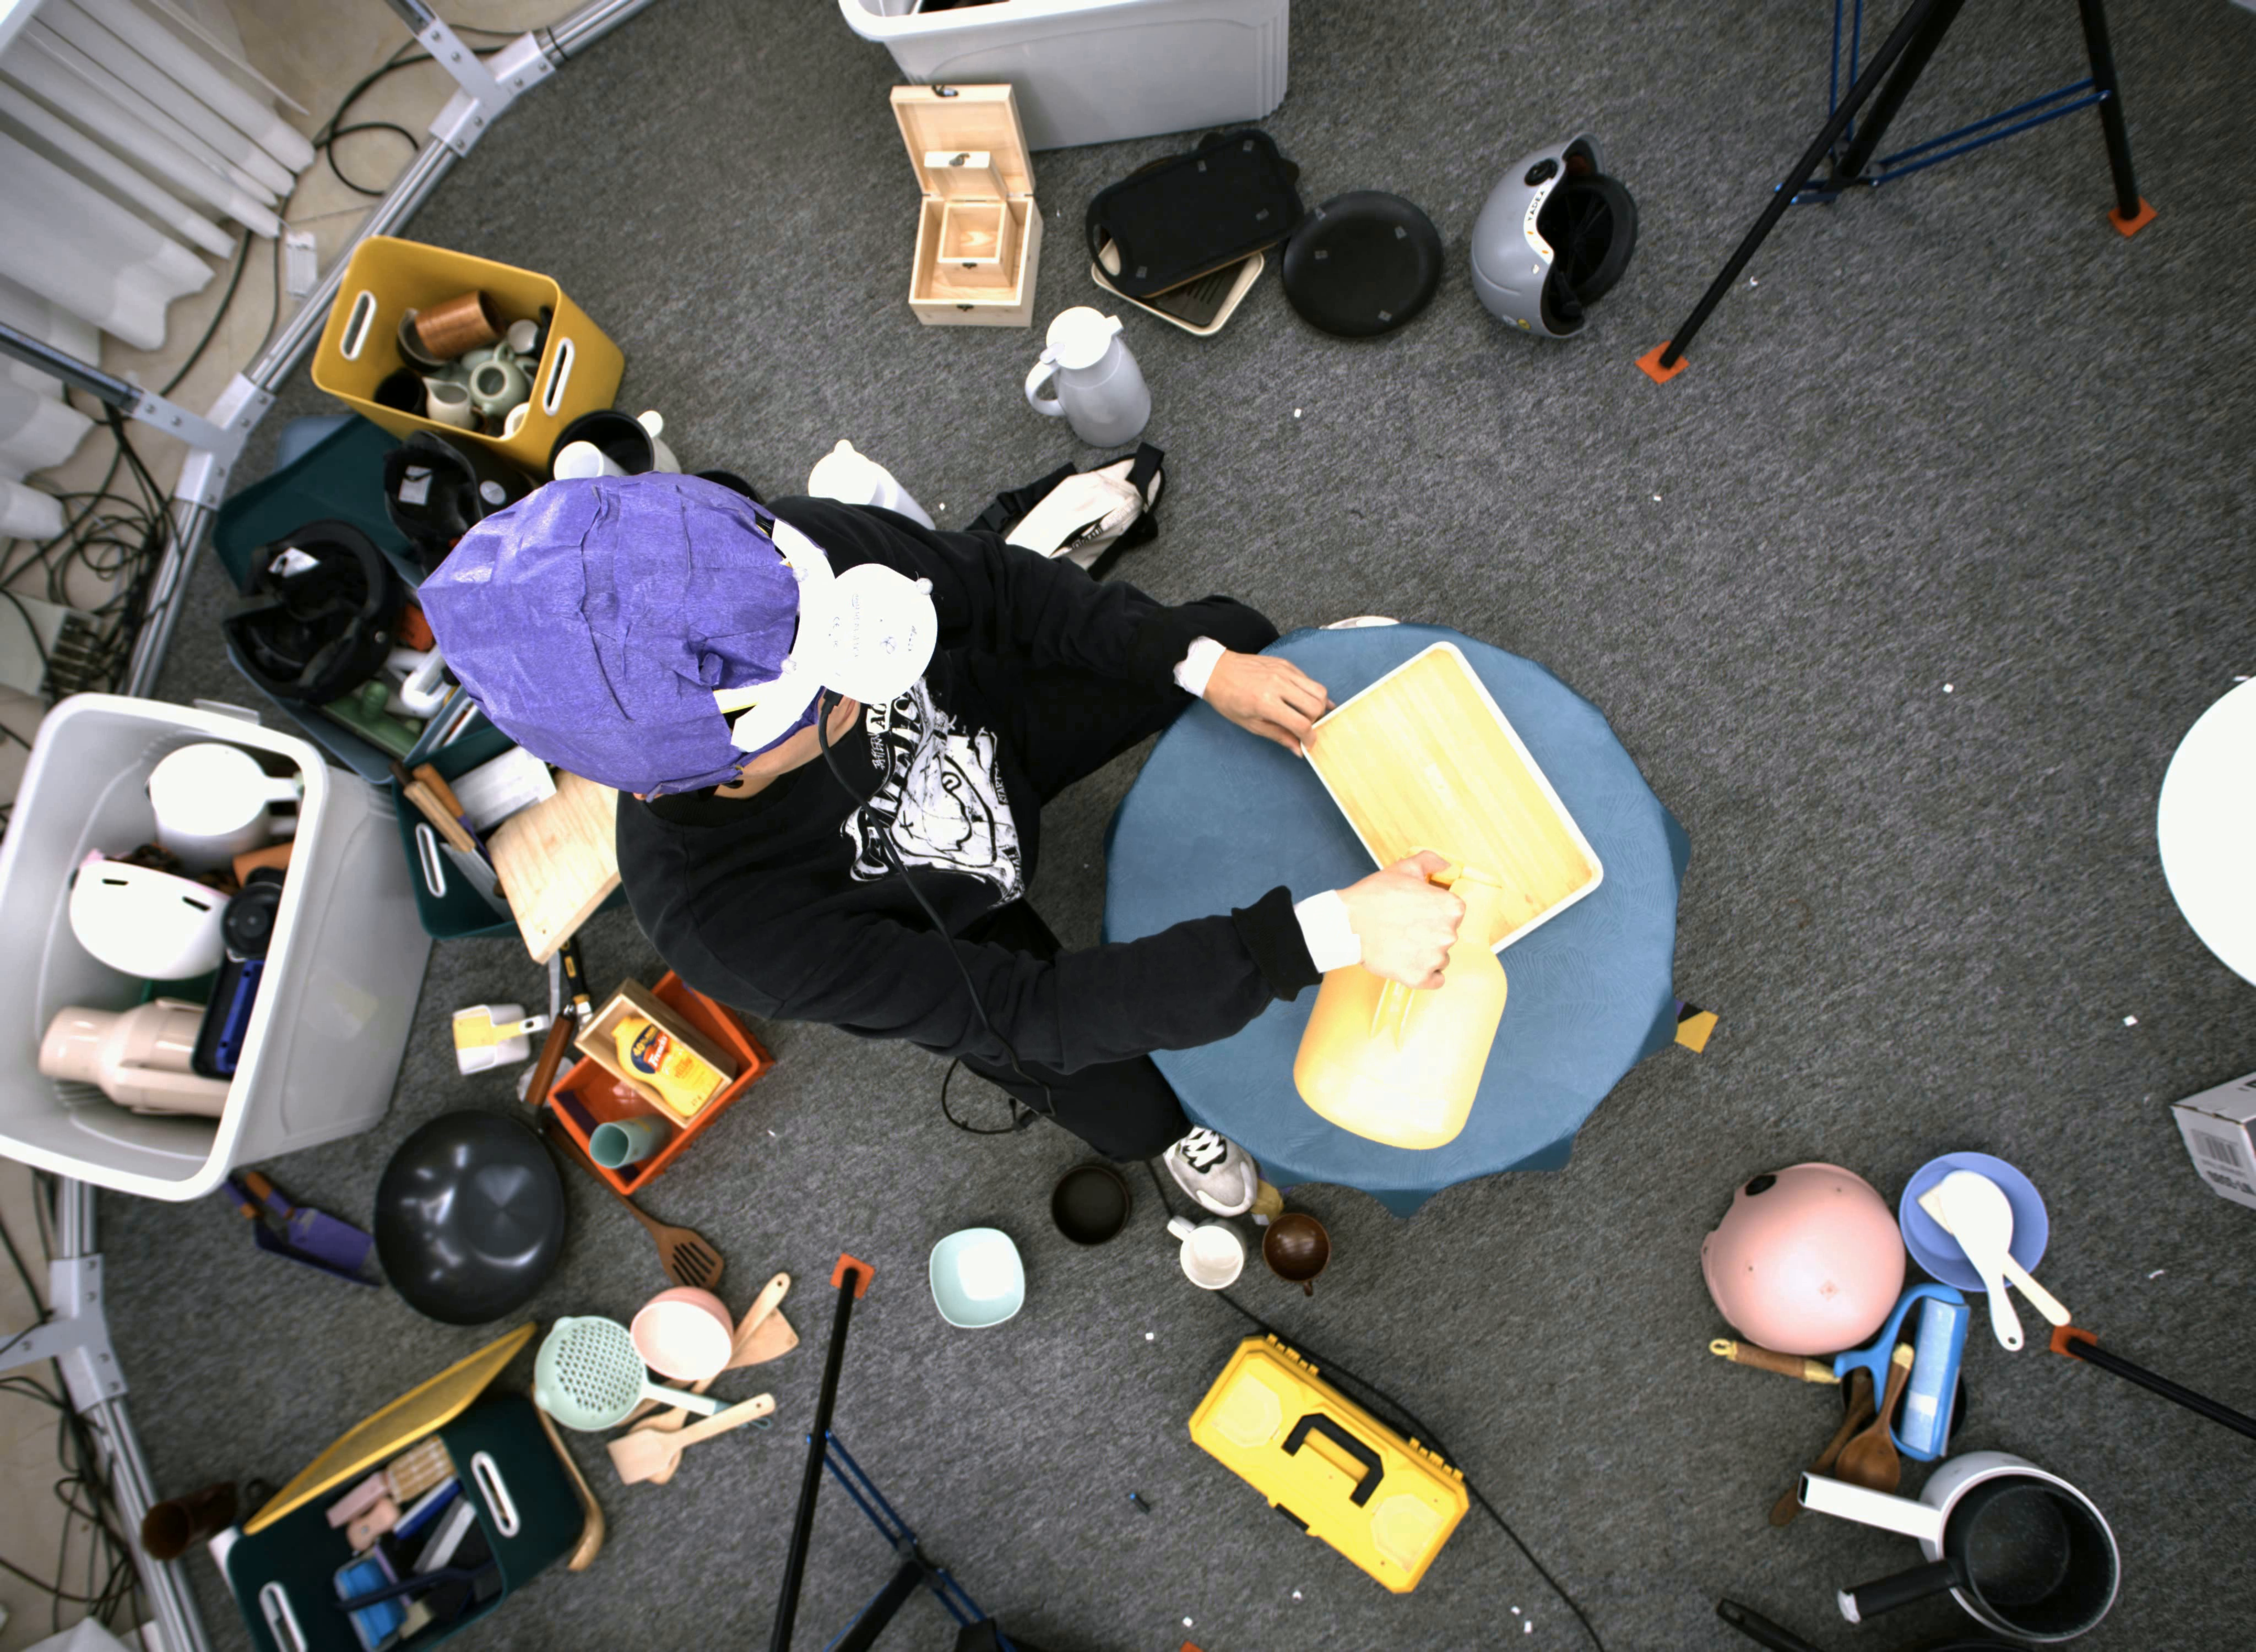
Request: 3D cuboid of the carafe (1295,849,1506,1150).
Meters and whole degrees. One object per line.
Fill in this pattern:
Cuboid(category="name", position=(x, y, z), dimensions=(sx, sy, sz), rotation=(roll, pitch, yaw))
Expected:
Cuboid(category="carafe", position=(0.251, 0.150, 1.241), dimensions=(0.163, 0.201, 0.262), rotation=(18, 97, 21))

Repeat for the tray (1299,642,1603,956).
Cuboid(category="tray", position=(0.331, -0.020, 1.414), dimensions=(0.192, 0.027, 0.300), rotation=(-34, 92, 6))
